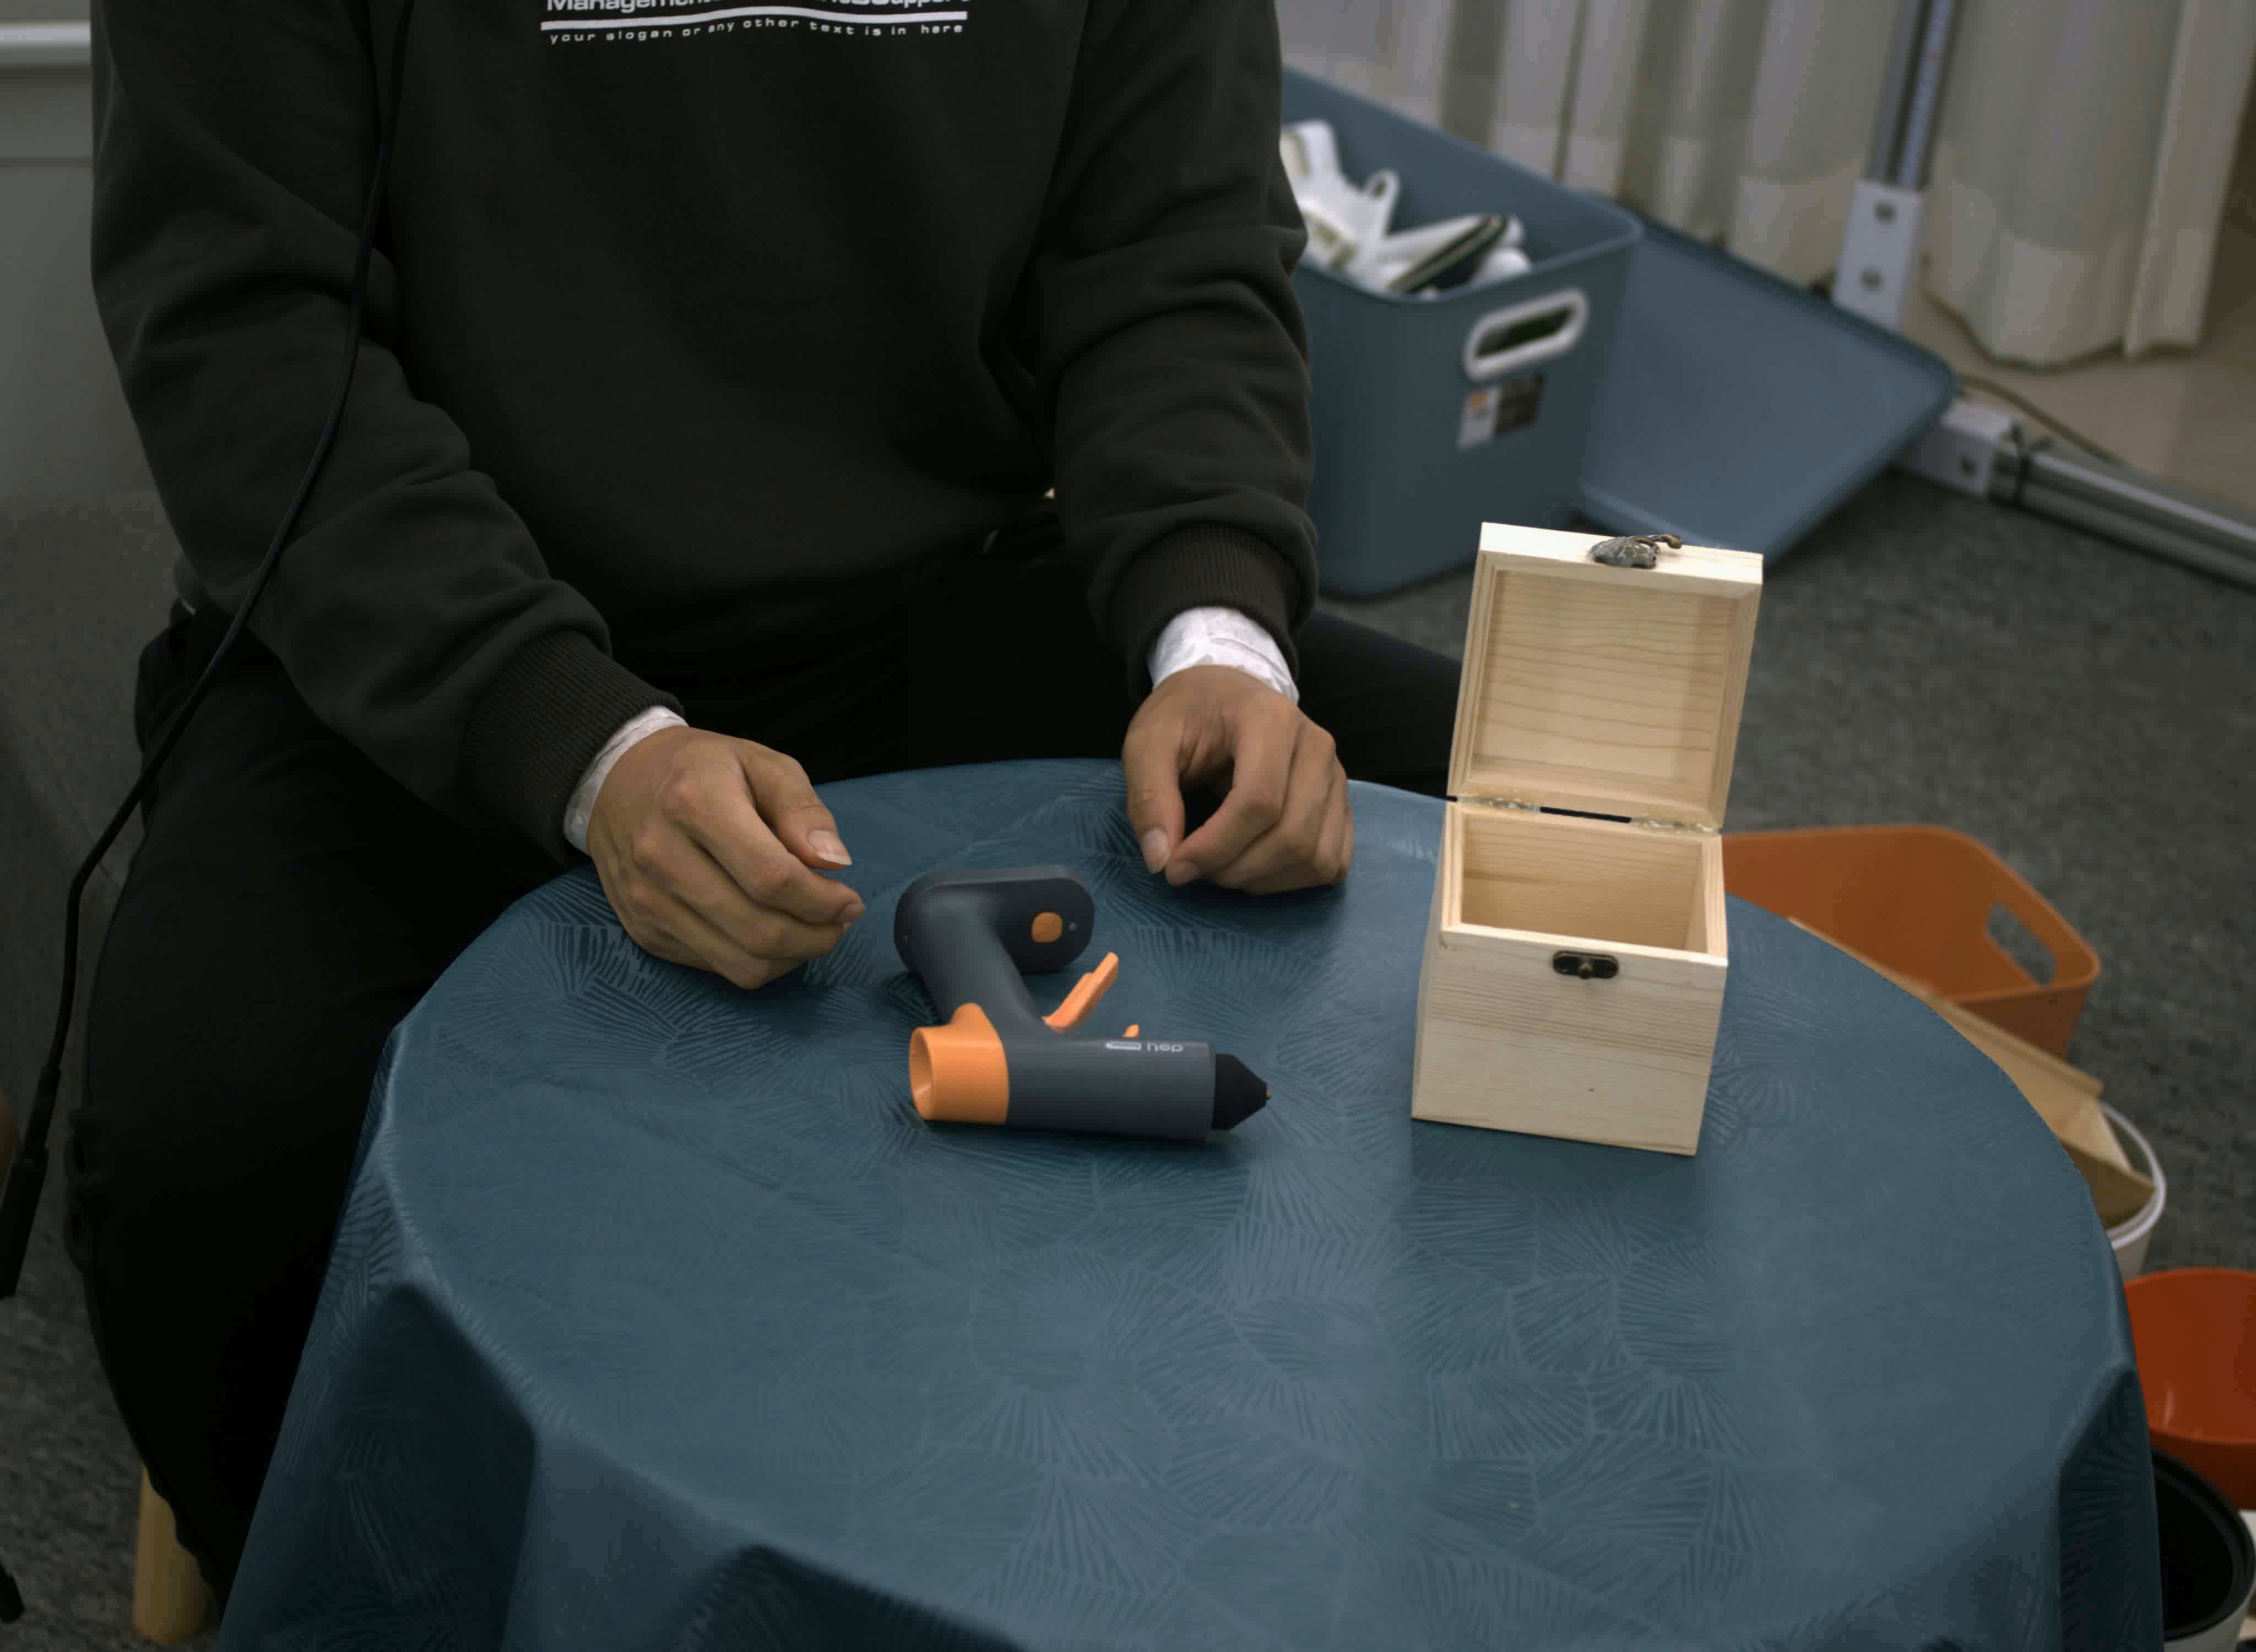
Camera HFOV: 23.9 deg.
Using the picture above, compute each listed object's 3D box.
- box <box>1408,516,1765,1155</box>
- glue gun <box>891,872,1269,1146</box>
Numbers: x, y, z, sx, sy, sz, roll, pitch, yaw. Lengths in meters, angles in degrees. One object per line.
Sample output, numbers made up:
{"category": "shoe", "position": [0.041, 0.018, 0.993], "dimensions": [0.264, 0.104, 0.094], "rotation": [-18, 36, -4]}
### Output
{"category": "box", "position": [0.163, 0.002, 1.882], "dimensions": [0.102, 0.184, 0.134], "rotation": [7, 27, -1]}
{"category": "glue gun", "position": [-0.024, 0.069, 1.878], "dimensions": [0.117, 0.041, 0.141], "rotation": [-1, 30, -20]}
